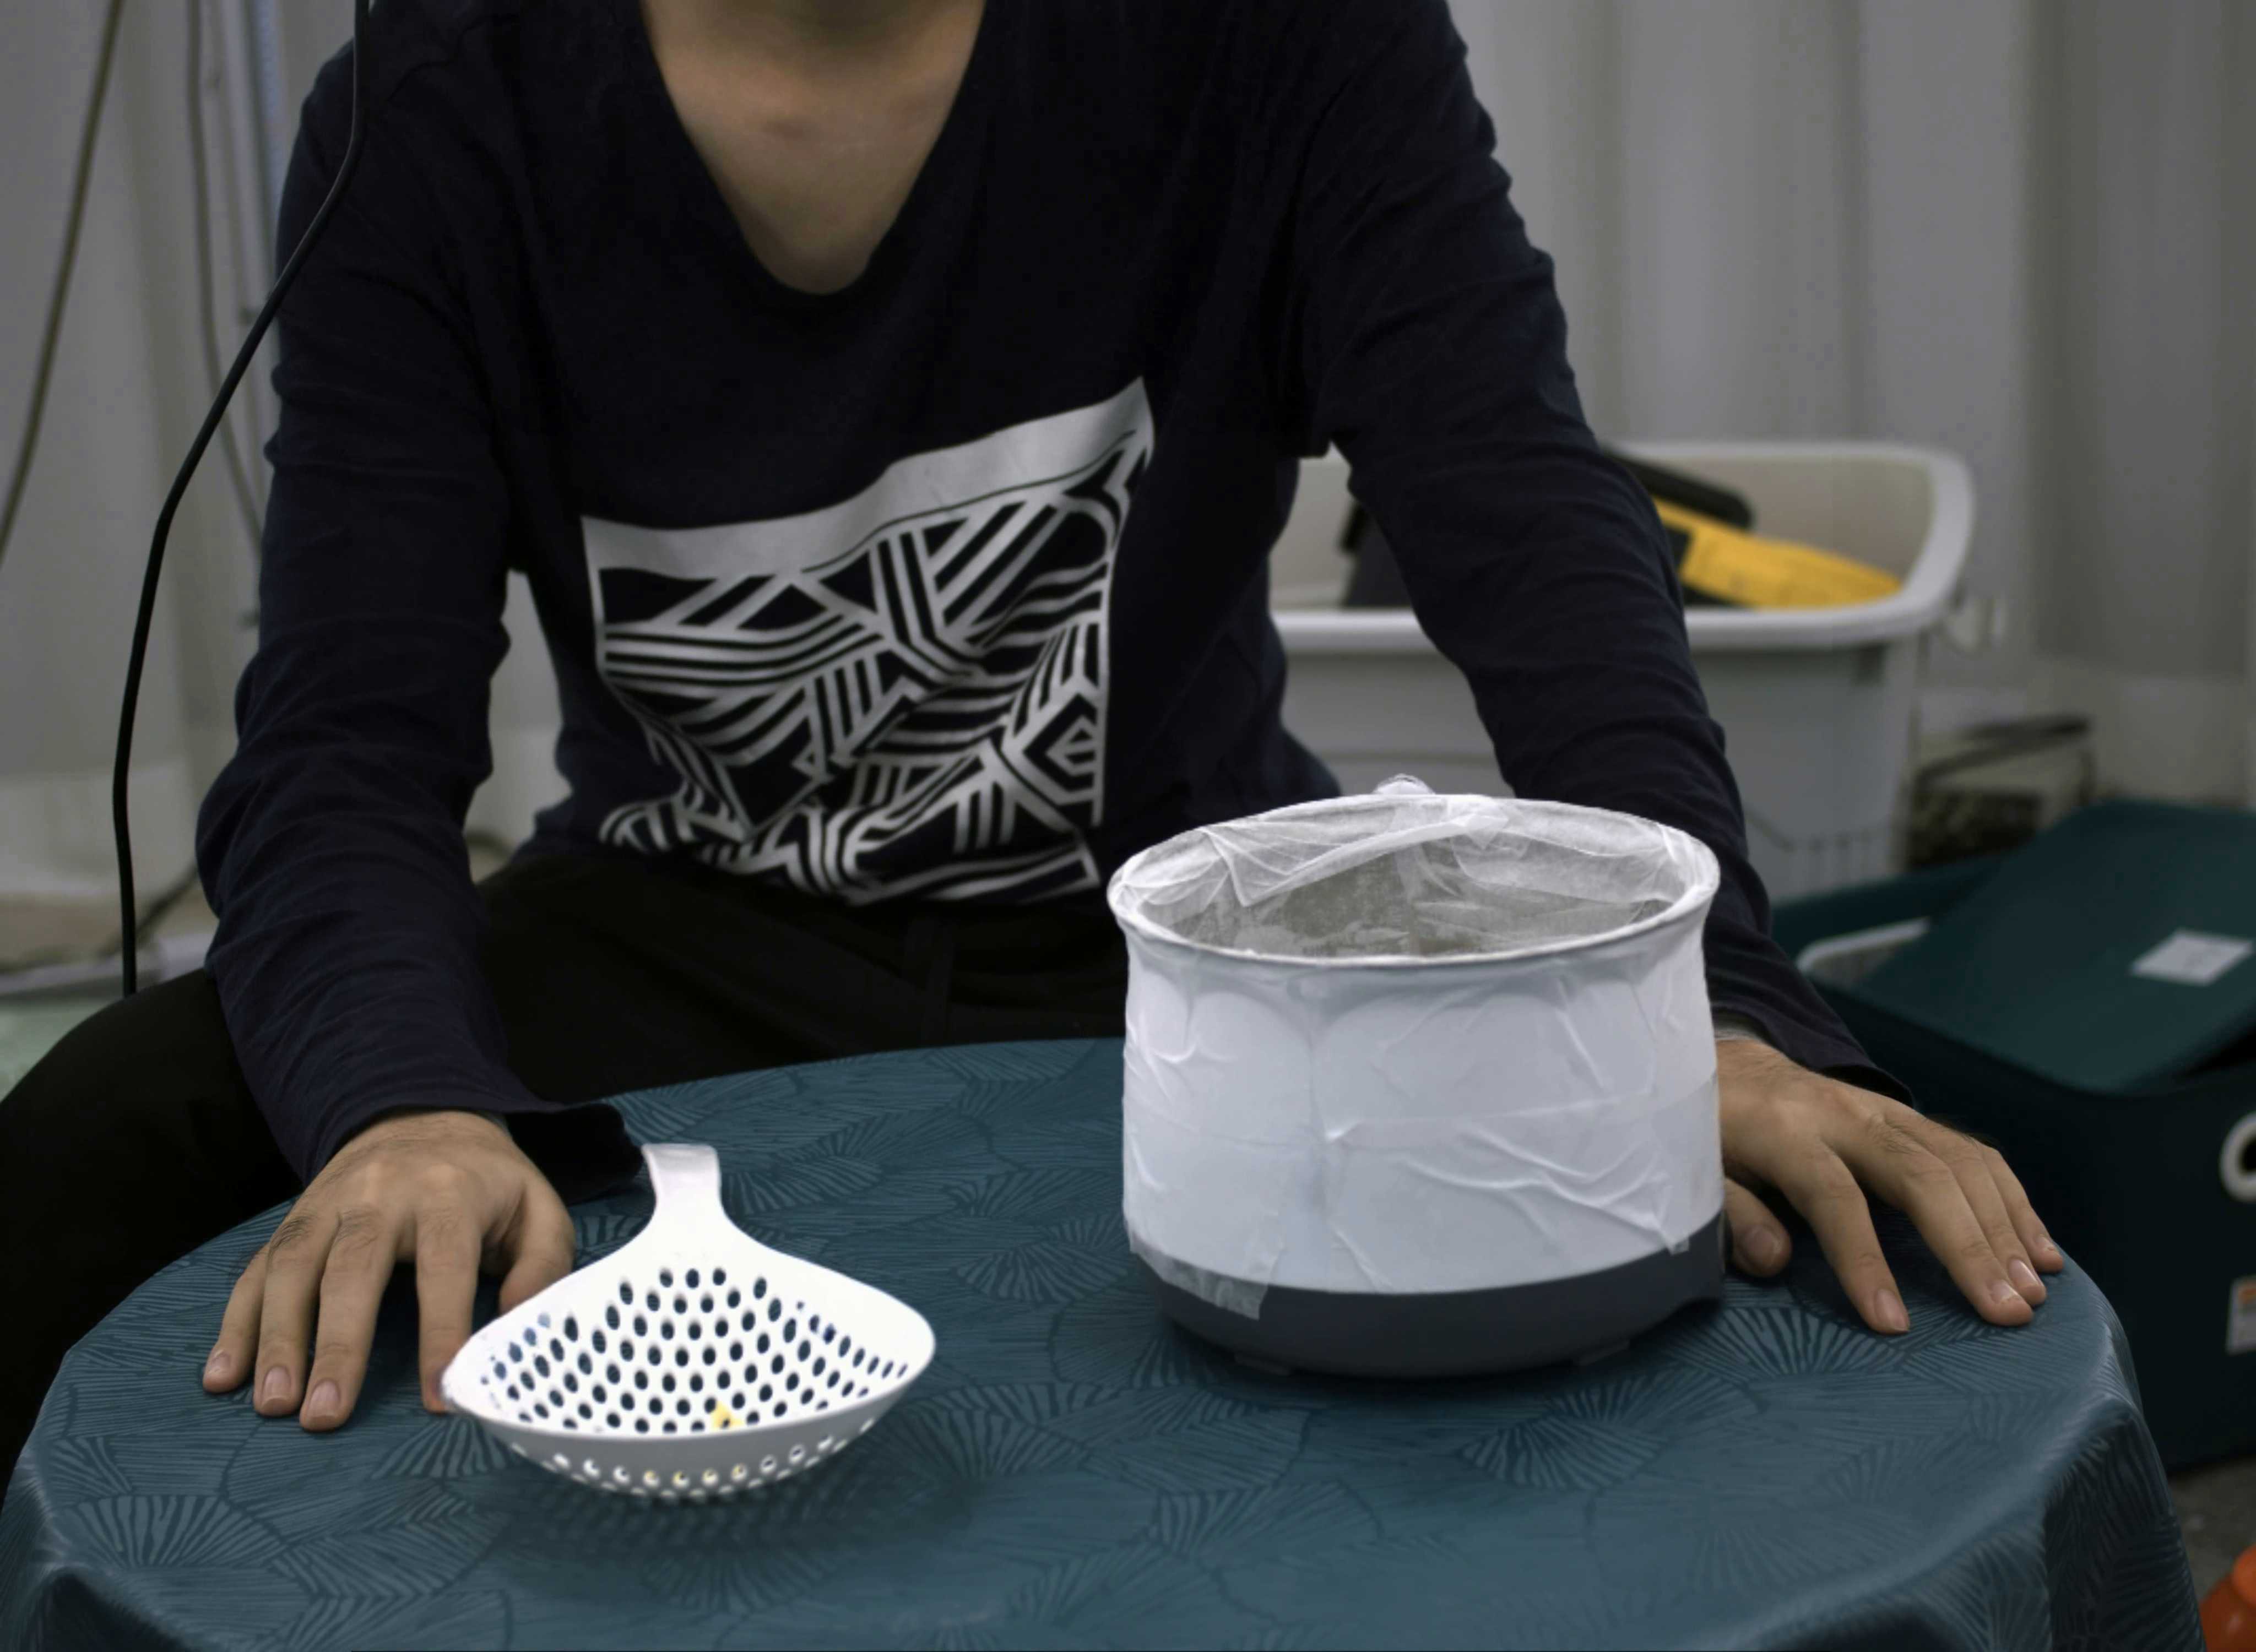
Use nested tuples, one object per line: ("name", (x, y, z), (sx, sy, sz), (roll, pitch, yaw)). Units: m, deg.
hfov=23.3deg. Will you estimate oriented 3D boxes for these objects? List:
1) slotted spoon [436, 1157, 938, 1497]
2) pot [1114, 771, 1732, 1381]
("slotted spoon", (-0.131, 0.131, 1.596), (0.136, 0.050, 0.350), (-5, 15, -5))
("pot", (0.084, 0.068, 1.612), (0.178, 0.136, 0.235), (0, 15, -1))
